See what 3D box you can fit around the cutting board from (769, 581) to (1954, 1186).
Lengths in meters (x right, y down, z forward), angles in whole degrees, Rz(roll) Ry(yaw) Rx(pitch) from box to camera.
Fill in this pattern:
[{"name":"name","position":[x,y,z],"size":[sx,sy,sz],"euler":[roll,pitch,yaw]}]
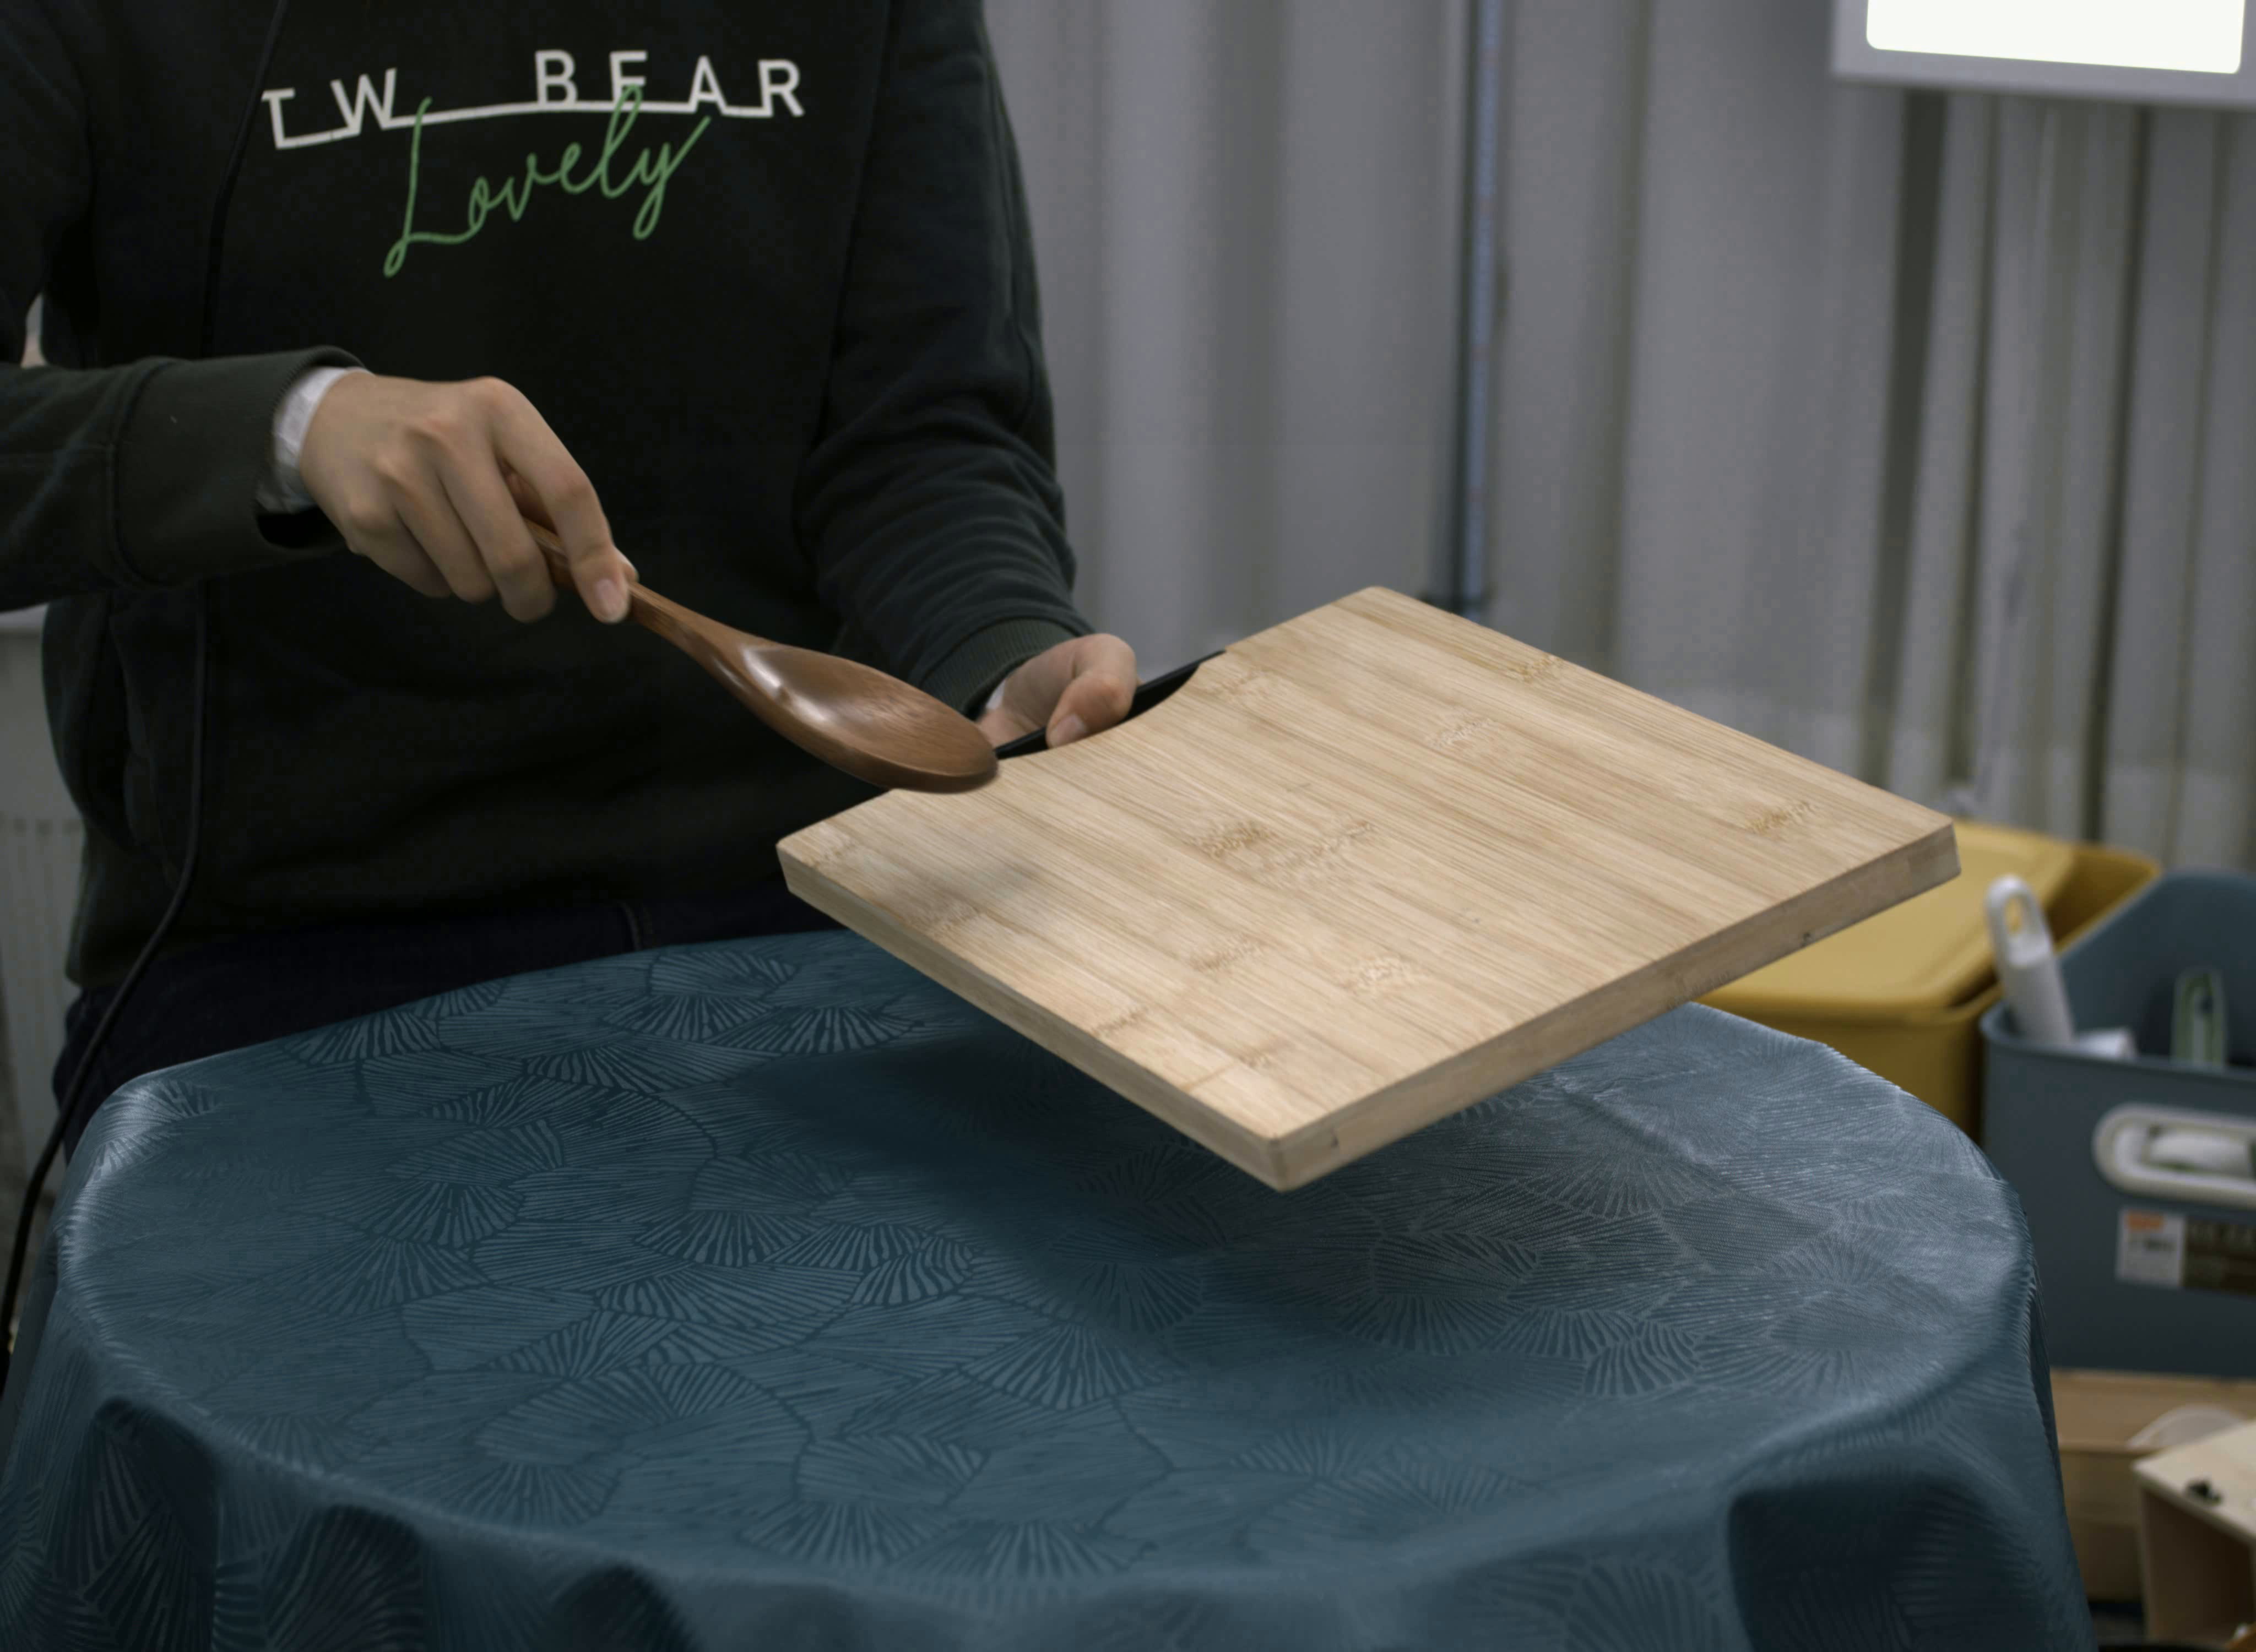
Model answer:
[{"name":"cutting board","position":[0.063,0.009,1.655],"size":[0.251,0.024,0.344],"euler":[-23,25,-23]}]

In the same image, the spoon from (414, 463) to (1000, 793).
[{"name":"spoon","position":[-0.136,-0.061,1.669],"size":[0.214,0.017,0.075],"euler":[29,24,14]}]
